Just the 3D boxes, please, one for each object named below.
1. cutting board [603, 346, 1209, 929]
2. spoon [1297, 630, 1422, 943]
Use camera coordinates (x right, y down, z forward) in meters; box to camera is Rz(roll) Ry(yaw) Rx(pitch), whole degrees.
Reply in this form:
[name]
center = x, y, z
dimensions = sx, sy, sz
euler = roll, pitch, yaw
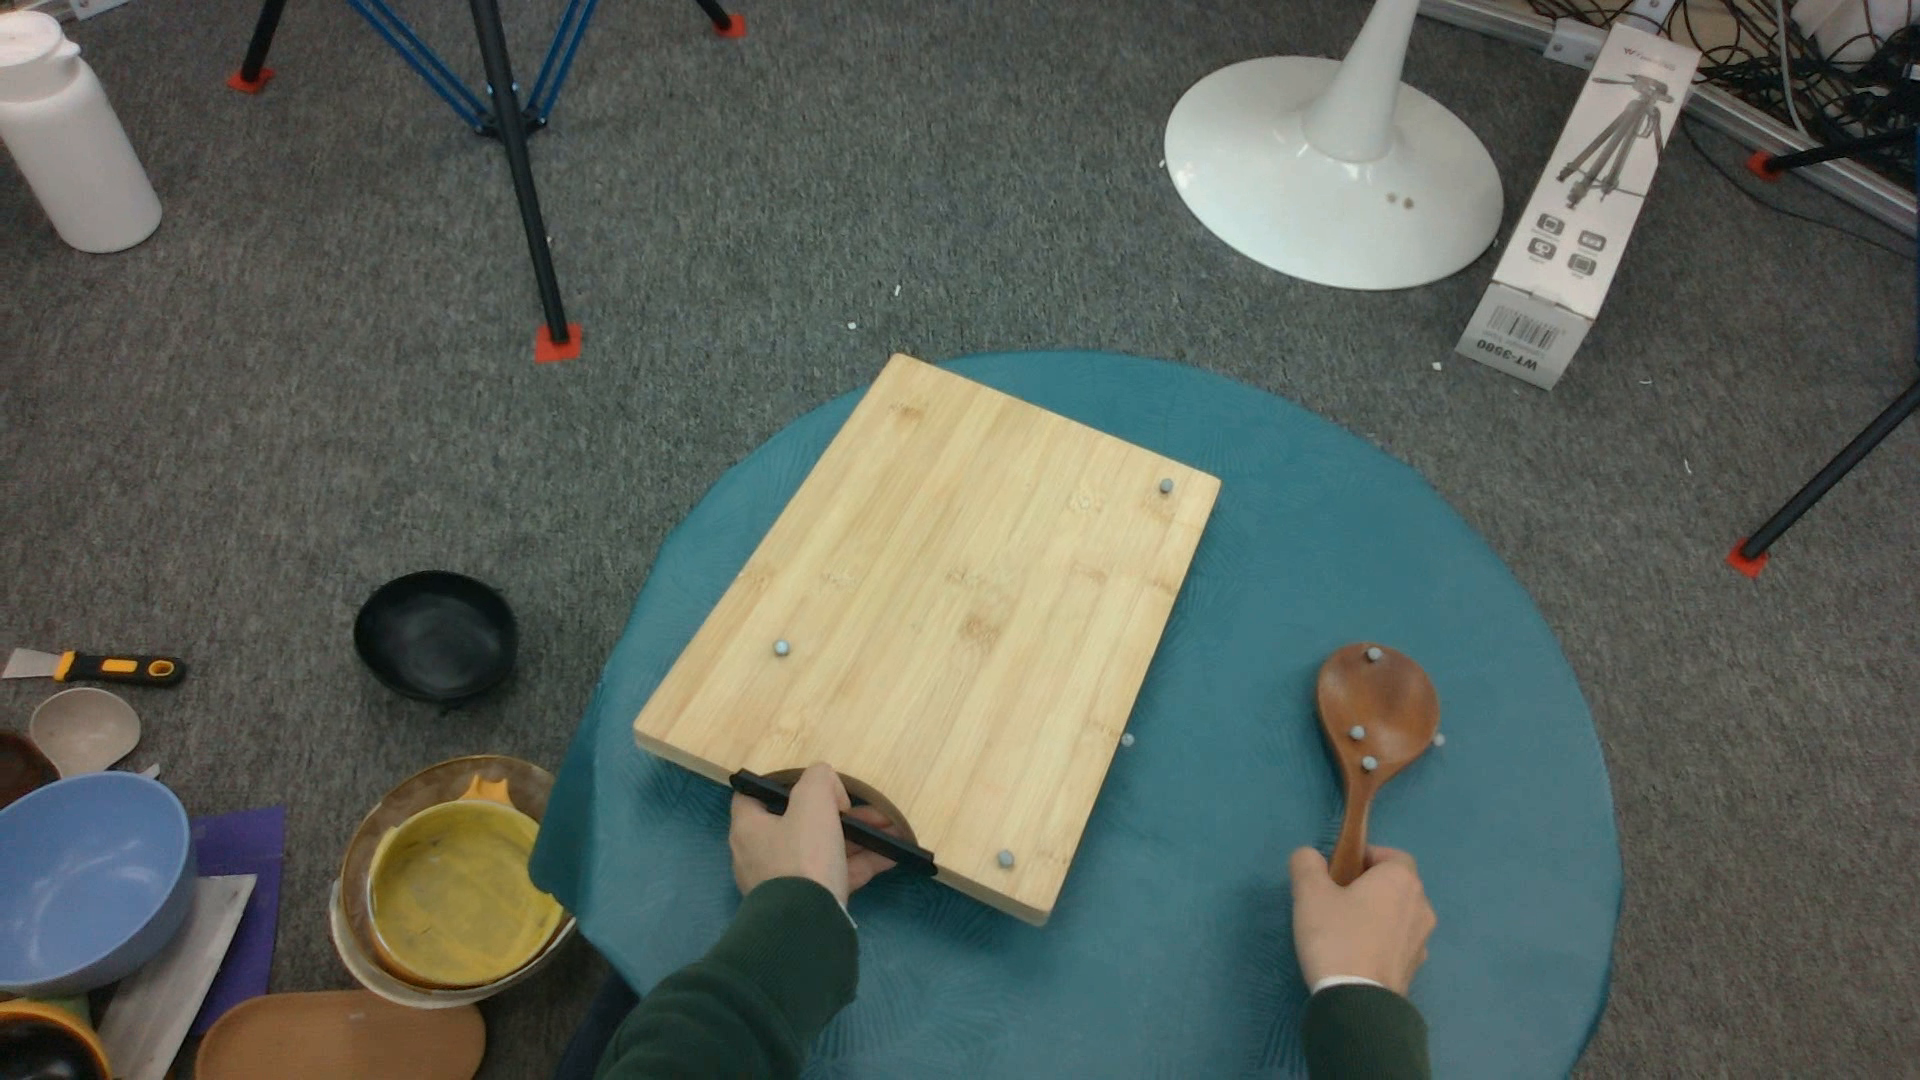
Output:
[cutting board]
center = -0.011, 0.033, 0.816
dimensions = 0.250, 0.023, 0.350
euler = 21, 49, 8
[spoon]
center = 0.220, 0.135, 0.786
dimensions = 0.075, 0.017, 0.217
euler = 21, 47, 5
